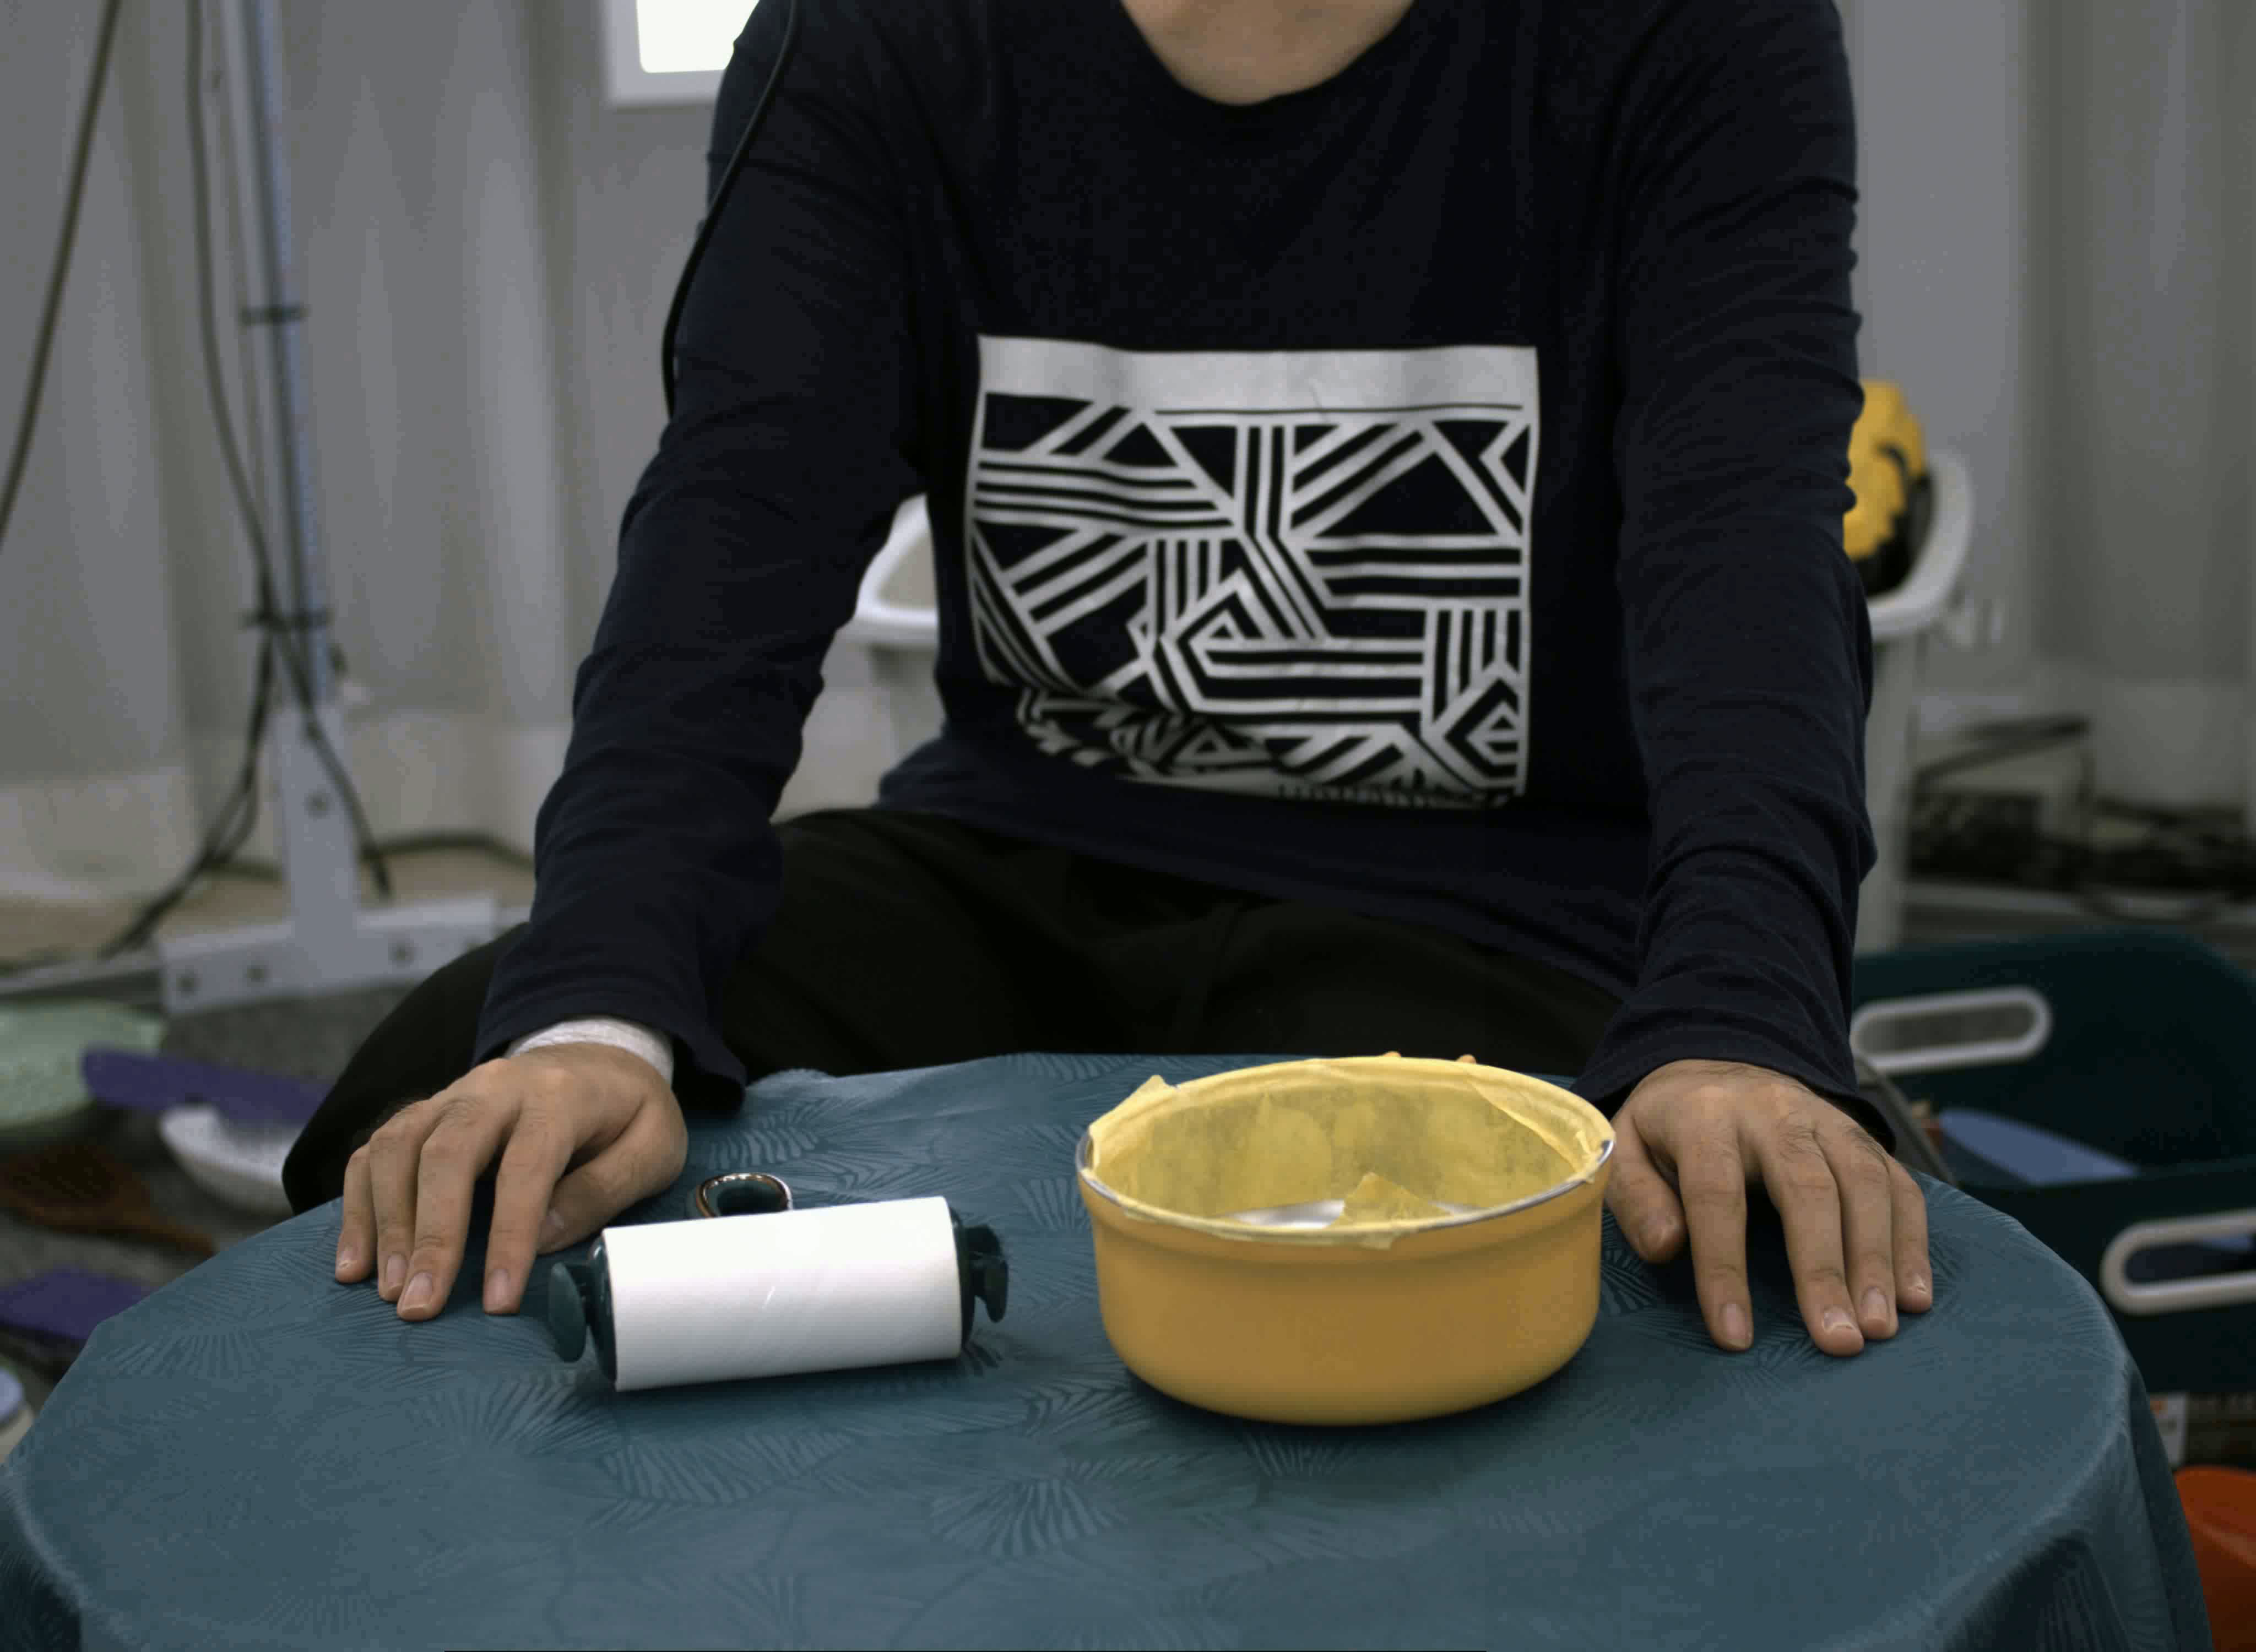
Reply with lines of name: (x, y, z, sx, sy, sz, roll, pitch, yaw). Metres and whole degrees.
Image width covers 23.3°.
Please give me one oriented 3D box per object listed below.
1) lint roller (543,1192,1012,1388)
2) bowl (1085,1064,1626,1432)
lint roller: (-0.111, 0.123, 1.635, 0.134, 0.048, 0.181, -5, 9, -8)
bowl: (0.068, 0.119, 1.565, 0.153, 0.074, 0.180, 0, 15, 12)
